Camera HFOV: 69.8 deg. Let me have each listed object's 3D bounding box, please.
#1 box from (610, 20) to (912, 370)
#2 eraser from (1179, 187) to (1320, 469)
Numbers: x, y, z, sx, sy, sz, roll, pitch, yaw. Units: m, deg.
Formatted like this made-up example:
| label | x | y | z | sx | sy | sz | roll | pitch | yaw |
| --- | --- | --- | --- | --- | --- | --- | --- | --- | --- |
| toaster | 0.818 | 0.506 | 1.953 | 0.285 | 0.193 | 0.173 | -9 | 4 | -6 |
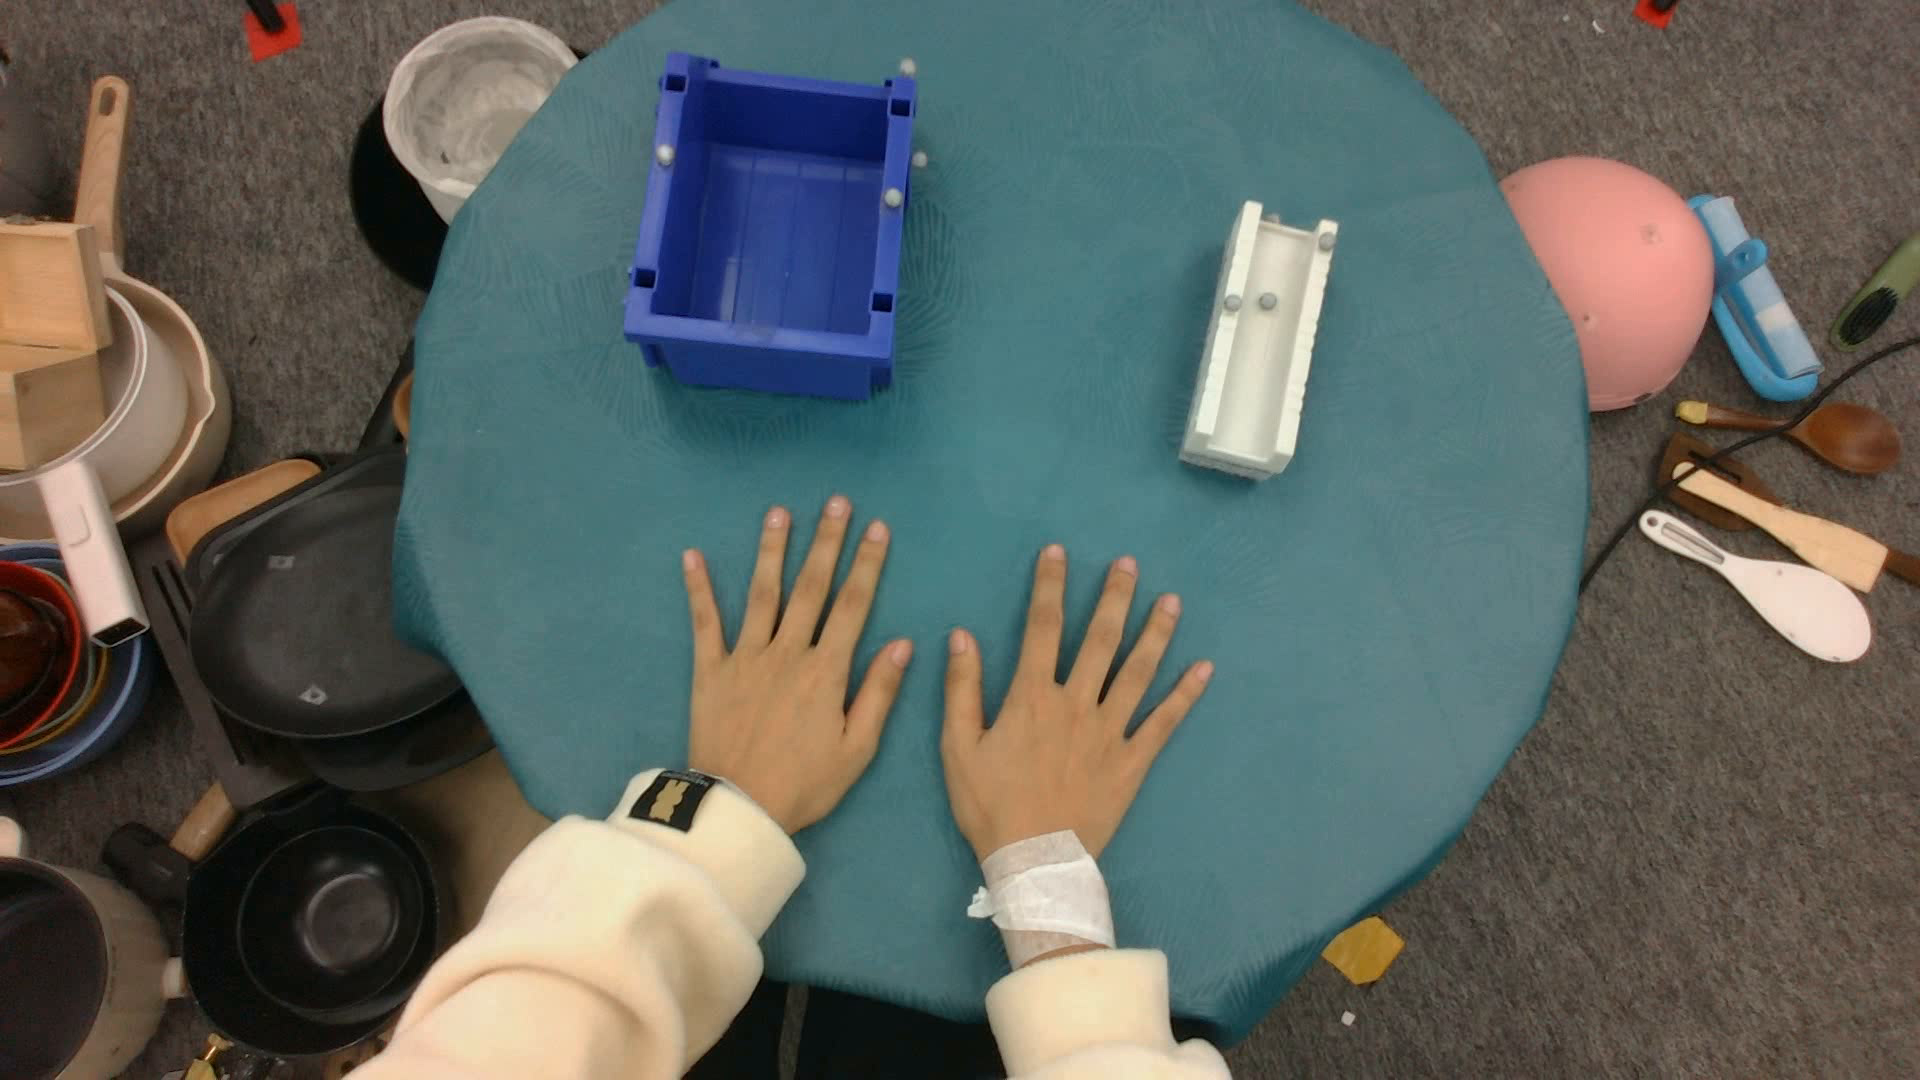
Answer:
| label | x | y | z | sx | sy | sz | roll | pitch | yaw |
| --- | --- | --- | --- | --- | --- | --- | --- | --- | --- |
| box | -0.095 | -0.176 | 0.683 | 0.124 | 0.081 | 0.180 | 6 | 74 | -2 |
| eraser | 0.145 | -0.107 | 0.697 | 0.050 | 0.046 | 0.135 | 13 | 70 | -2 |
